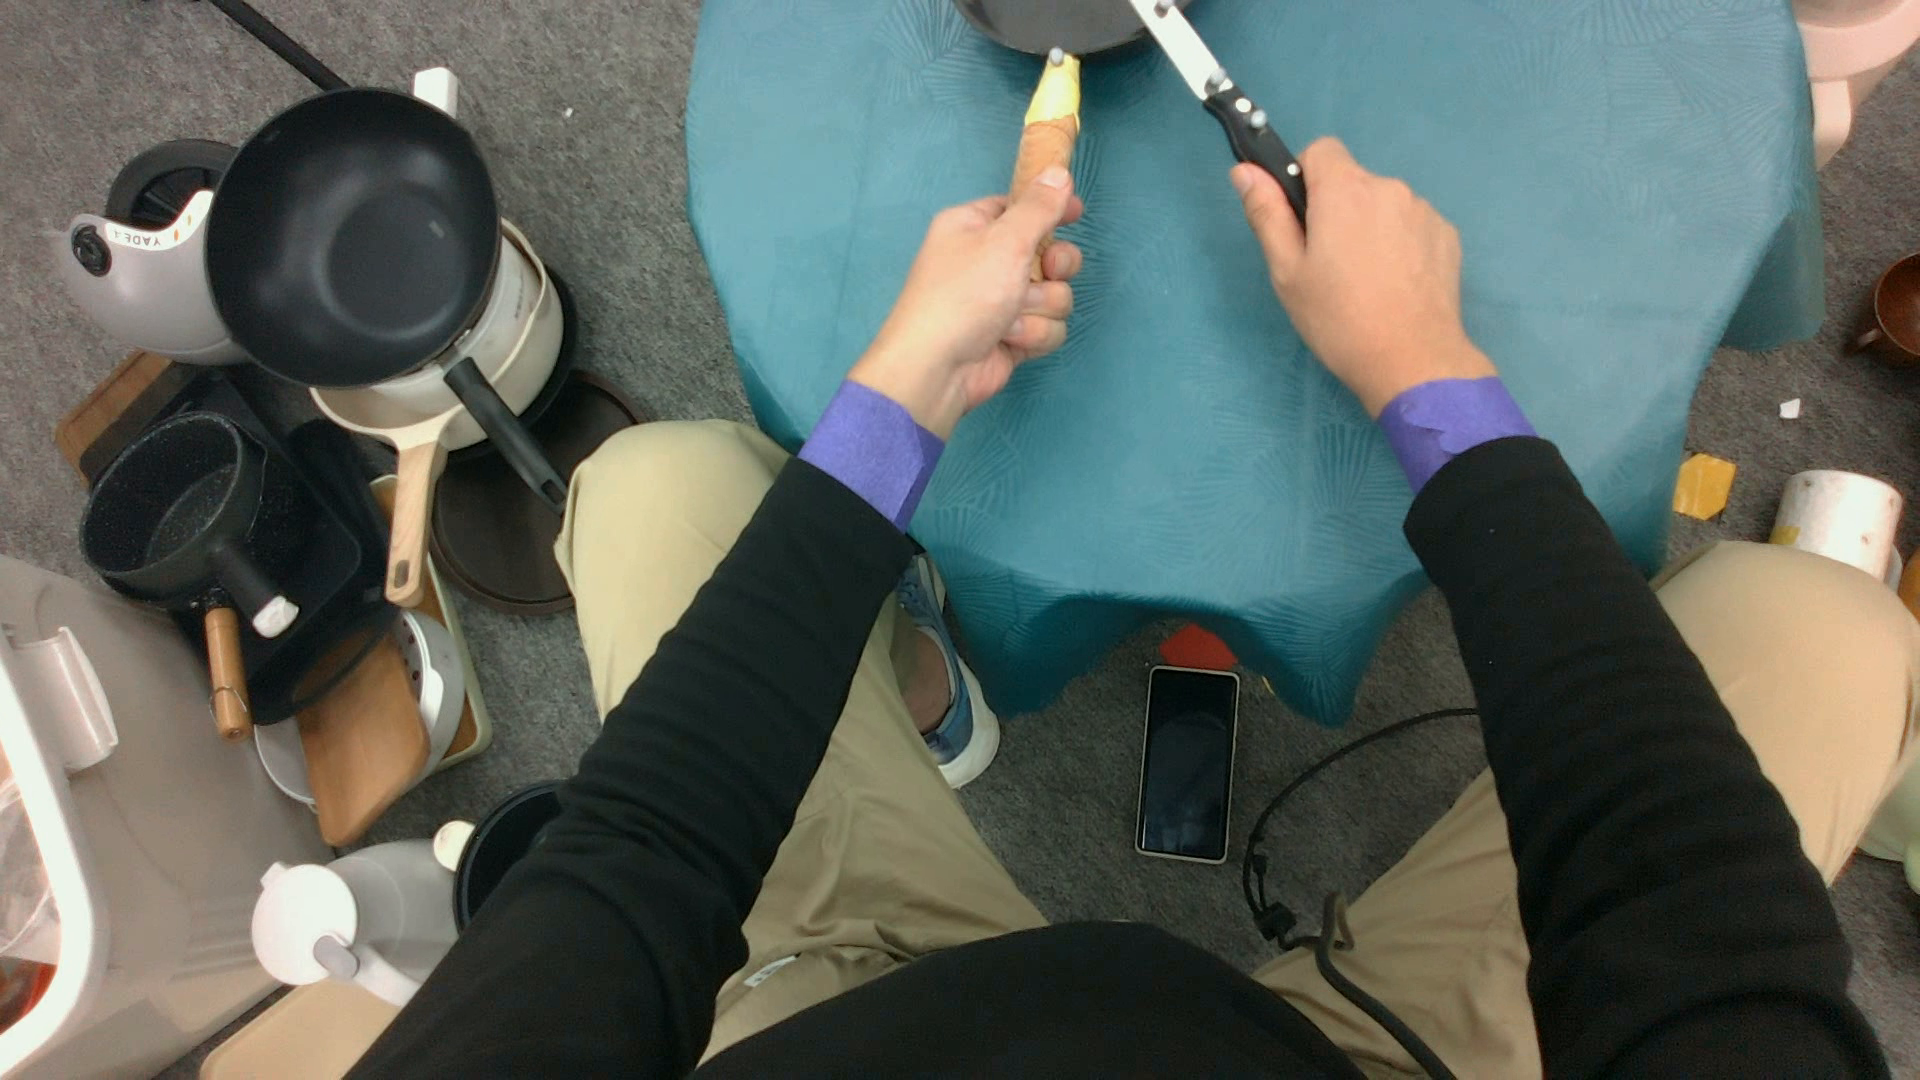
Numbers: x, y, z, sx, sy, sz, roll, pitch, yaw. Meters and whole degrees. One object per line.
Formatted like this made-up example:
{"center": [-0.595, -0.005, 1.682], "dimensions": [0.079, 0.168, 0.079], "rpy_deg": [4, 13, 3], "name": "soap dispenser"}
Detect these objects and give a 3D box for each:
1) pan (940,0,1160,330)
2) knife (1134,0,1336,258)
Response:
{"center": [0.040, -0.254, 0.727], "dimensions": [0.169, 0.049, 0.325], "rpy_deg": [7, 73, 14], "name": "pan"}
{"center": [0.122, -0.243, 0.702], "dimensions": [0.024, 0.016, 0.238], "rpy_deg": [-27, 78, -25], "name": "knife"}
